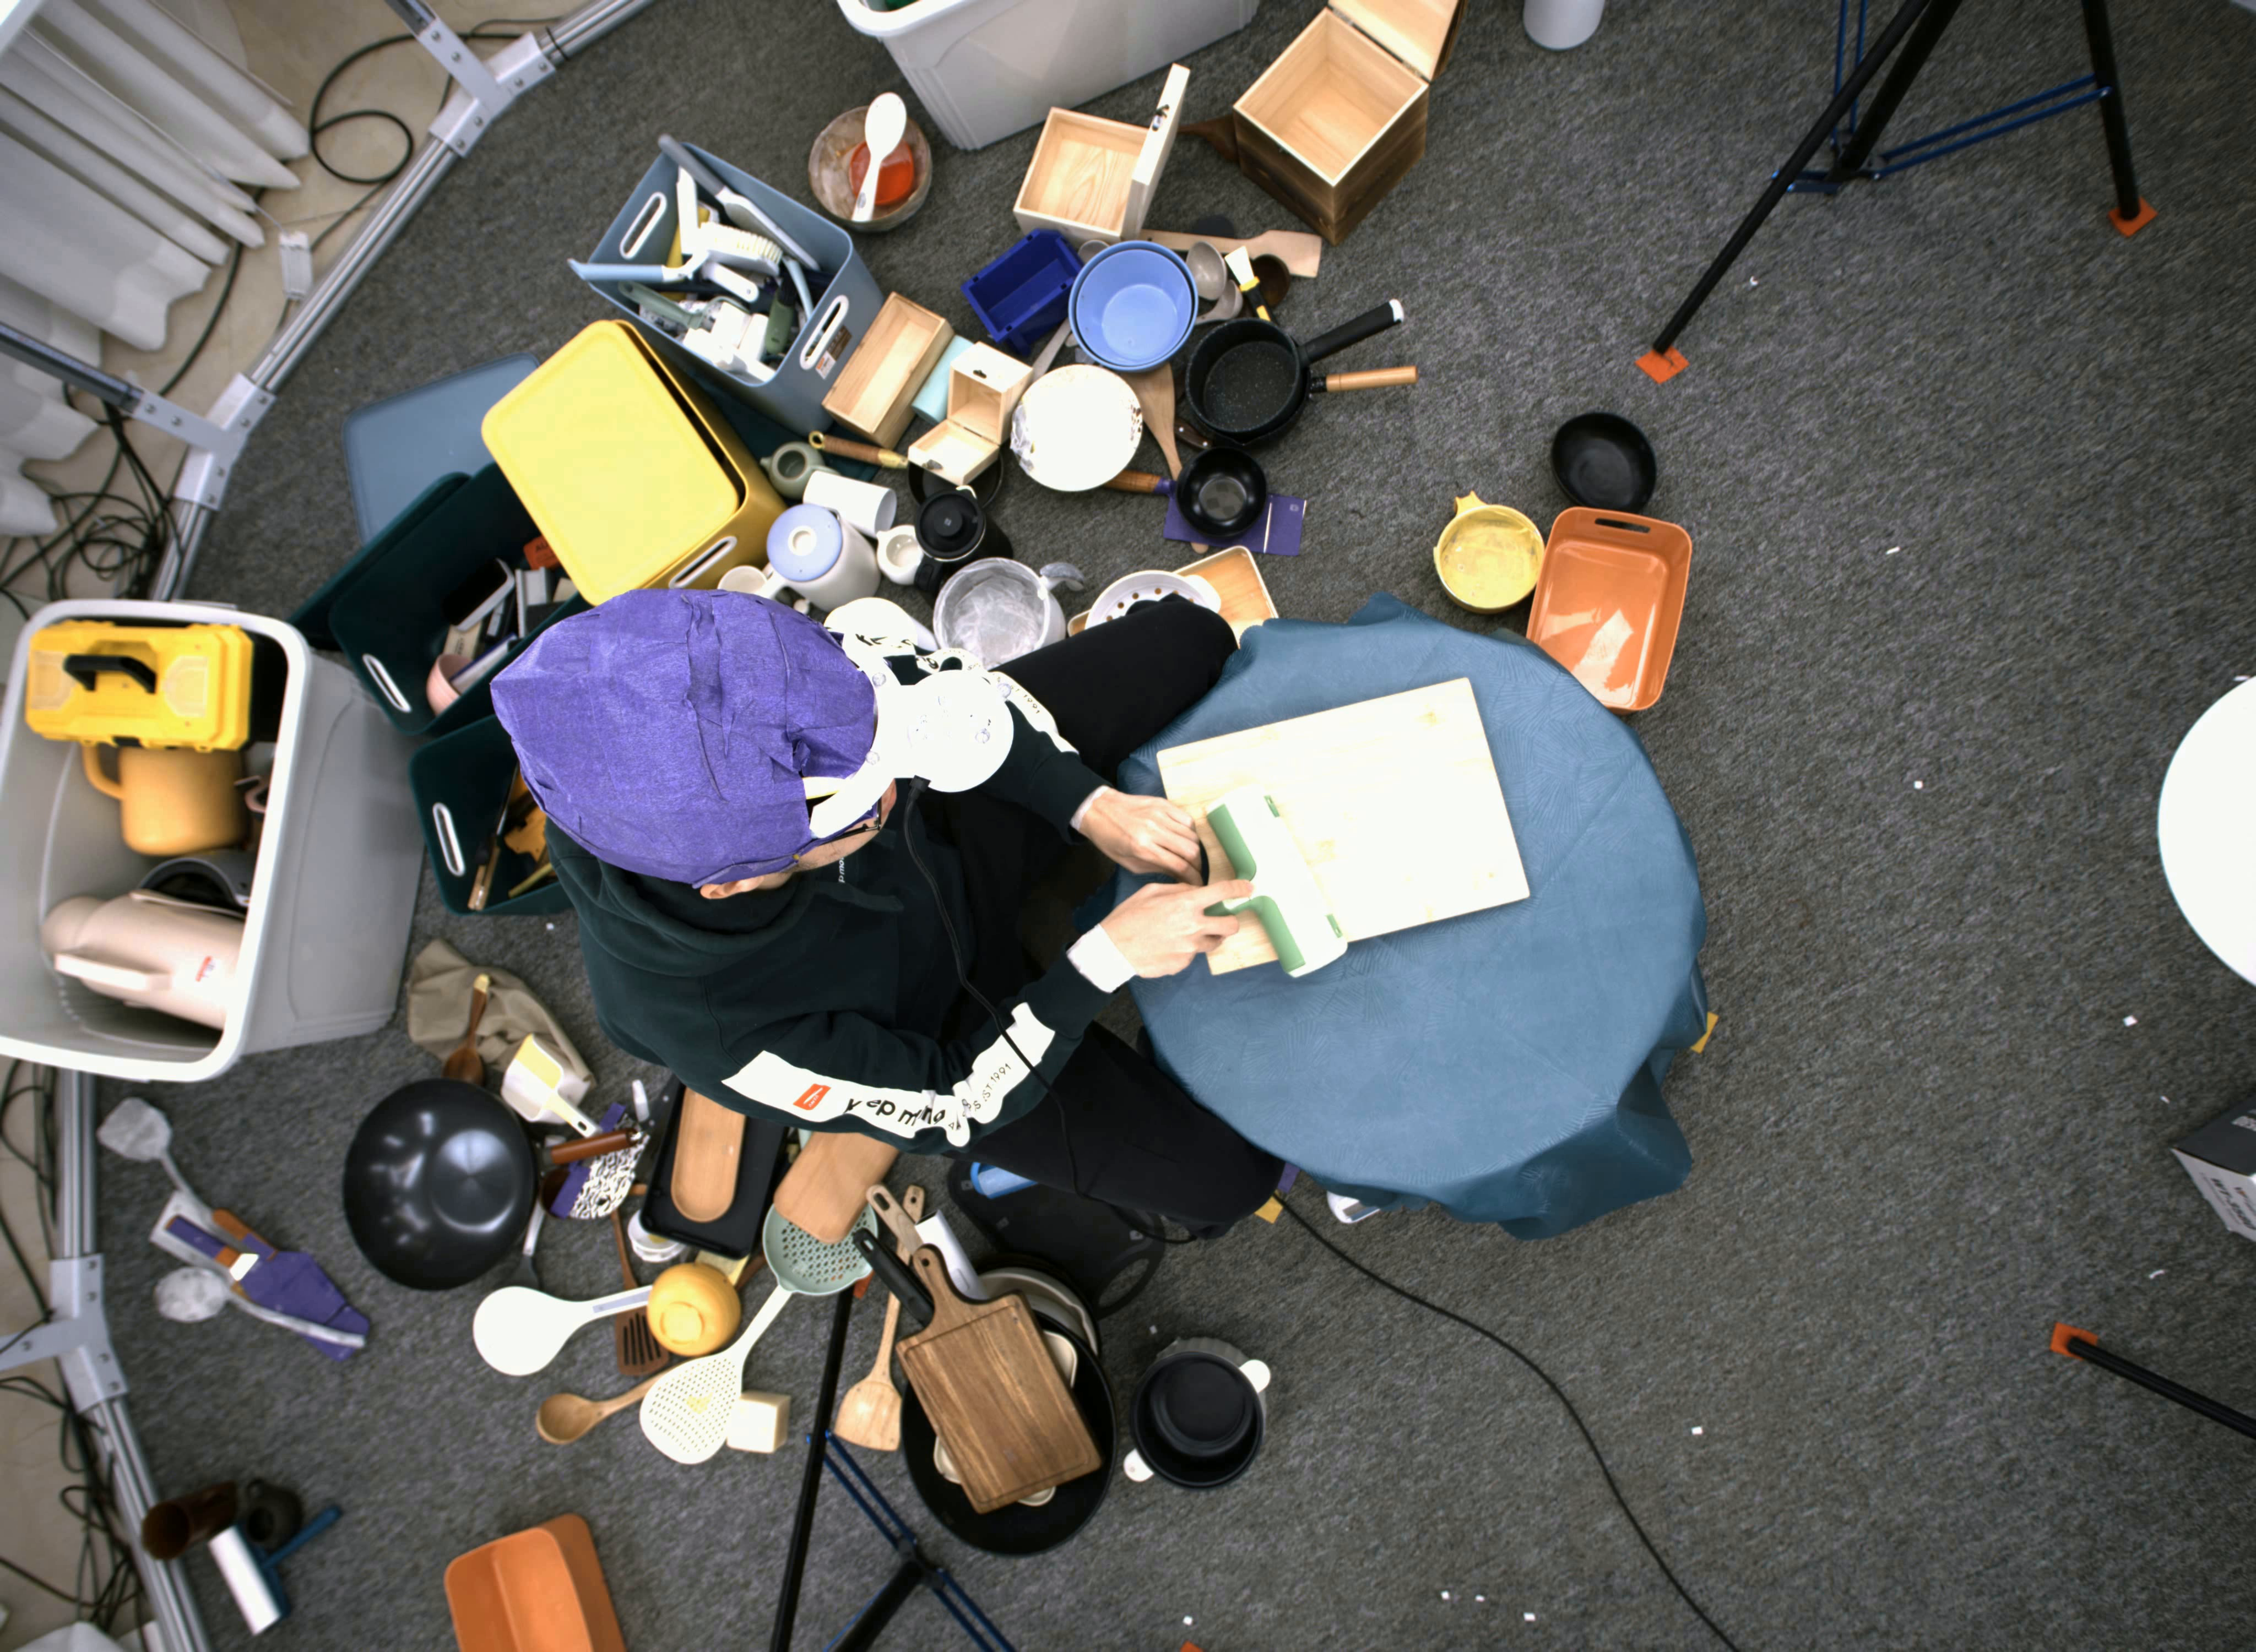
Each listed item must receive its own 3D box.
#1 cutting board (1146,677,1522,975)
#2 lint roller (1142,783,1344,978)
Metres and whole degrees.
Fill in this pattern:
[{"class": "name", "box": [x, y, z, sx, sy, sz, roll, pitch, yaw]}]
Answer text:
[{"class": "cutting board", "box": [0.216, -0.002, 1.431, 0.349, 0.024, 0.249, -14, 85, 0]}, {"class": "lint roller", "box": [0.102, 0.071, 1.358, 0.181, 0.083, 0.198, -23, 84, -27]}]
